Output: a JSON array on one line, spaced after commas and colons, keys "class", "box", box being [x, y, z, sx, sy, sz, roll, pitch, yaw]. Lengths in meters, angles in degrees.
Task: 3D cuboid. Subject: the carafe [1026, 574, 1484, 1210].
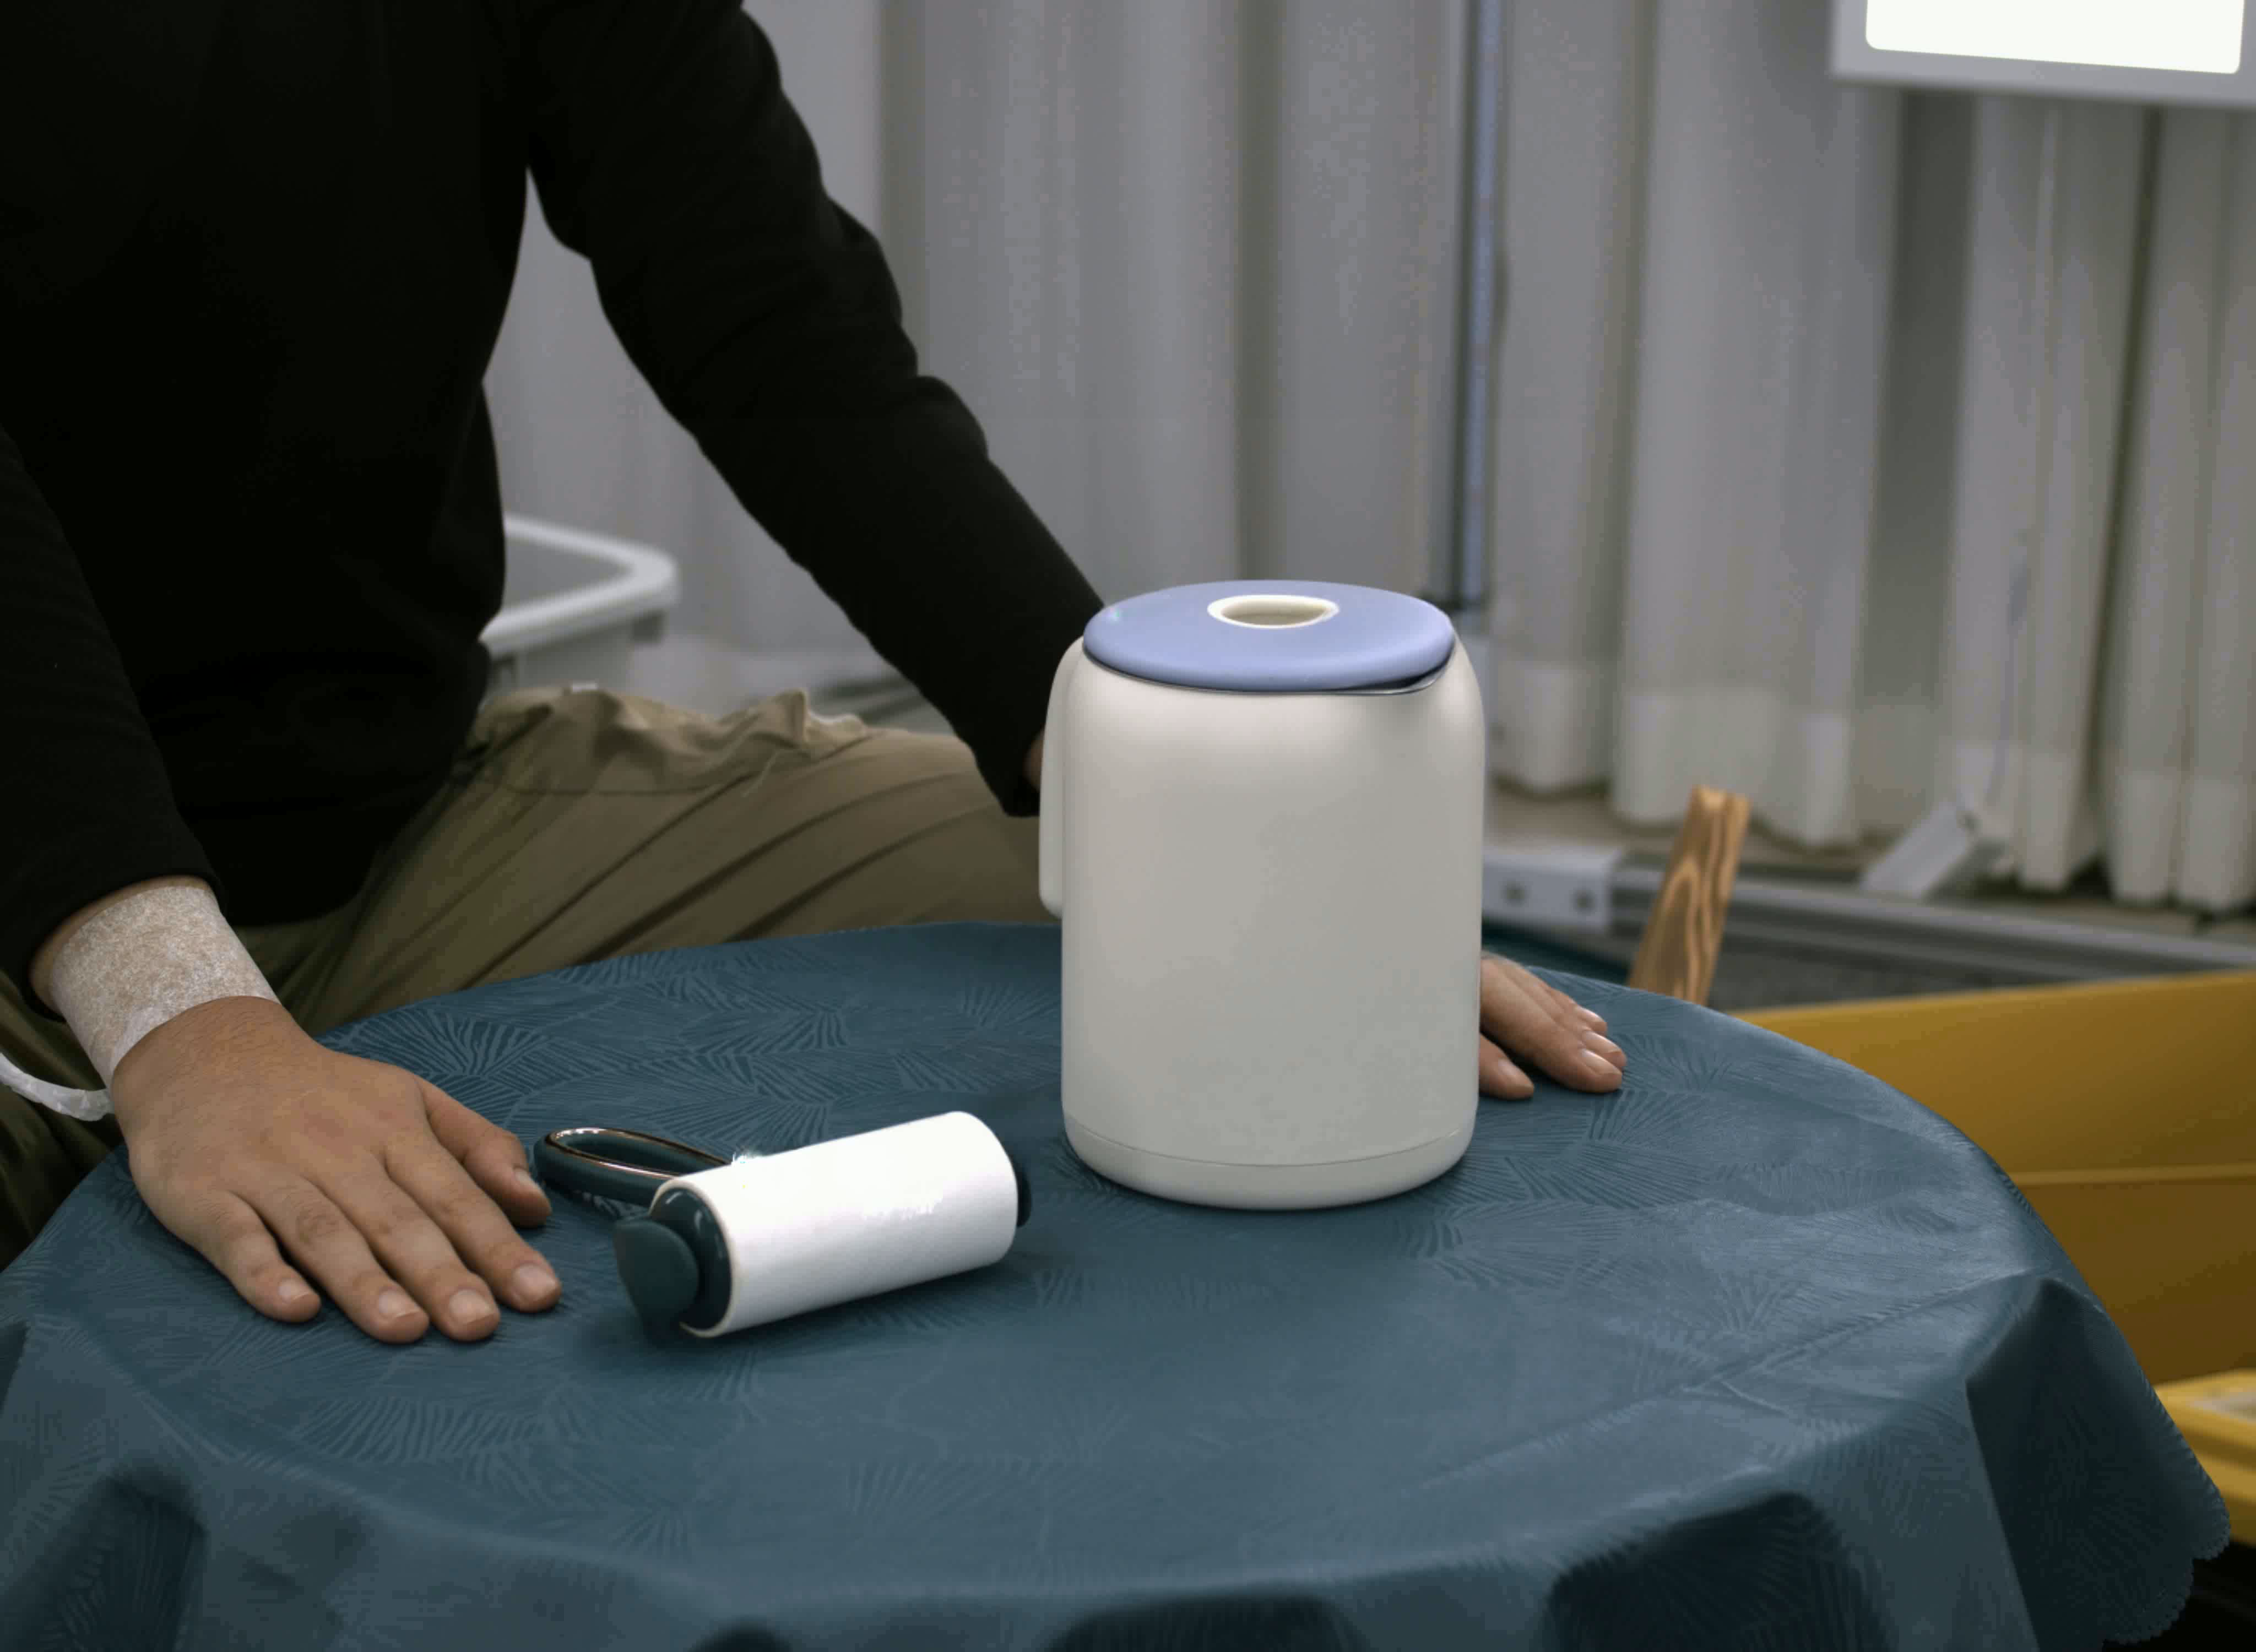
[{"class": "carafe", "box": [0.030, 0.014, 1.653, 0.133, 0.184, 0.188, -11, 17, -36]}]

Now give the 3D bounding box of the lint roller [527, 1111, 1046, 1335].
[{"class": "lint roller", "box": [-0.127, 0.103, 1.572, 0.135, 0.048, 0.178, -11, 17, -37]}]
